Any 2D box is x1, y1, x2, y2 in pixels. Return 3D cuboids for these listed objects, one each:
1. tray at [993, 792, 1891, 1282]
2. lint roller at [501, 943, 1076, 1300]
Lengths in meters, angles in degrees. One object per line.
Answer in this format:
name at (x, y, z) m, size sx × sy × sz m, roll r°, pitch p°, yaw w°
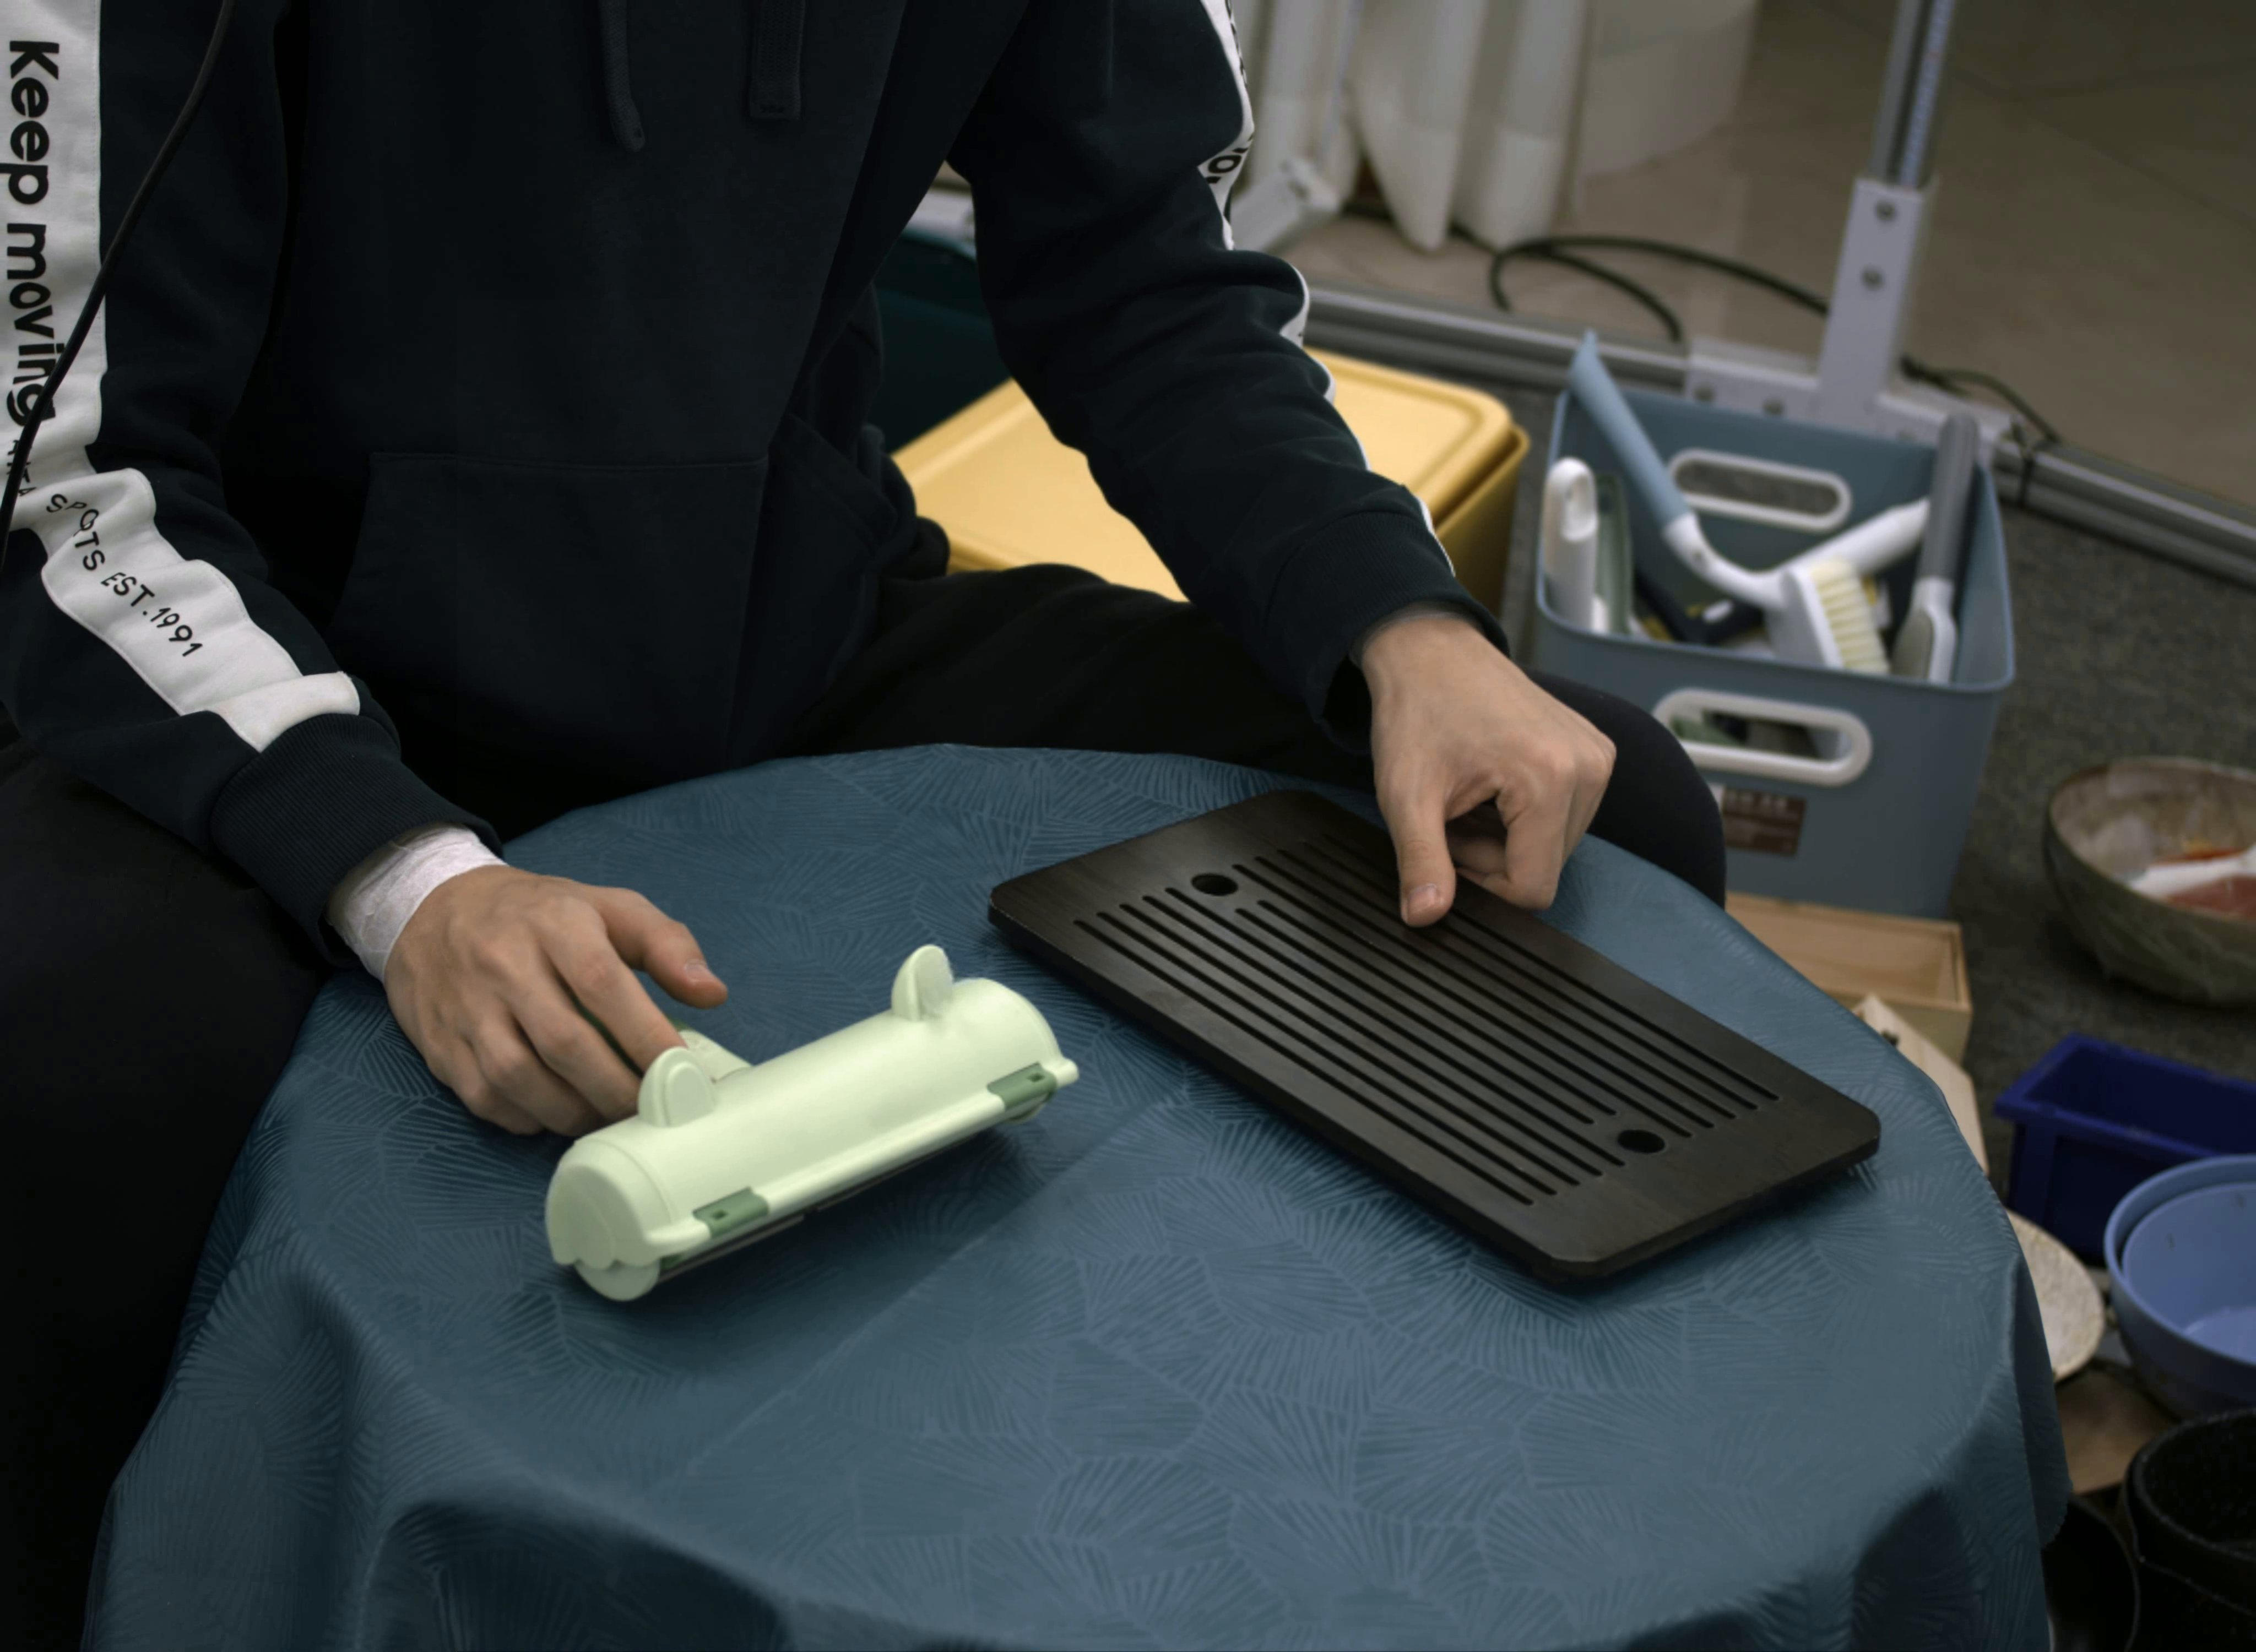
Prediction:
tray at (0.108, 0.072, 1.905) m, size 0.169 × 0.018 × 0.308 m, roll -18°, pitch 36°, yaw -39°
lint roller at (-0.144, 0.072, 1.781) m, size 0.184 × 0.082 × 0.197 m, roll 31°, pitch 35°, yaw 34°
